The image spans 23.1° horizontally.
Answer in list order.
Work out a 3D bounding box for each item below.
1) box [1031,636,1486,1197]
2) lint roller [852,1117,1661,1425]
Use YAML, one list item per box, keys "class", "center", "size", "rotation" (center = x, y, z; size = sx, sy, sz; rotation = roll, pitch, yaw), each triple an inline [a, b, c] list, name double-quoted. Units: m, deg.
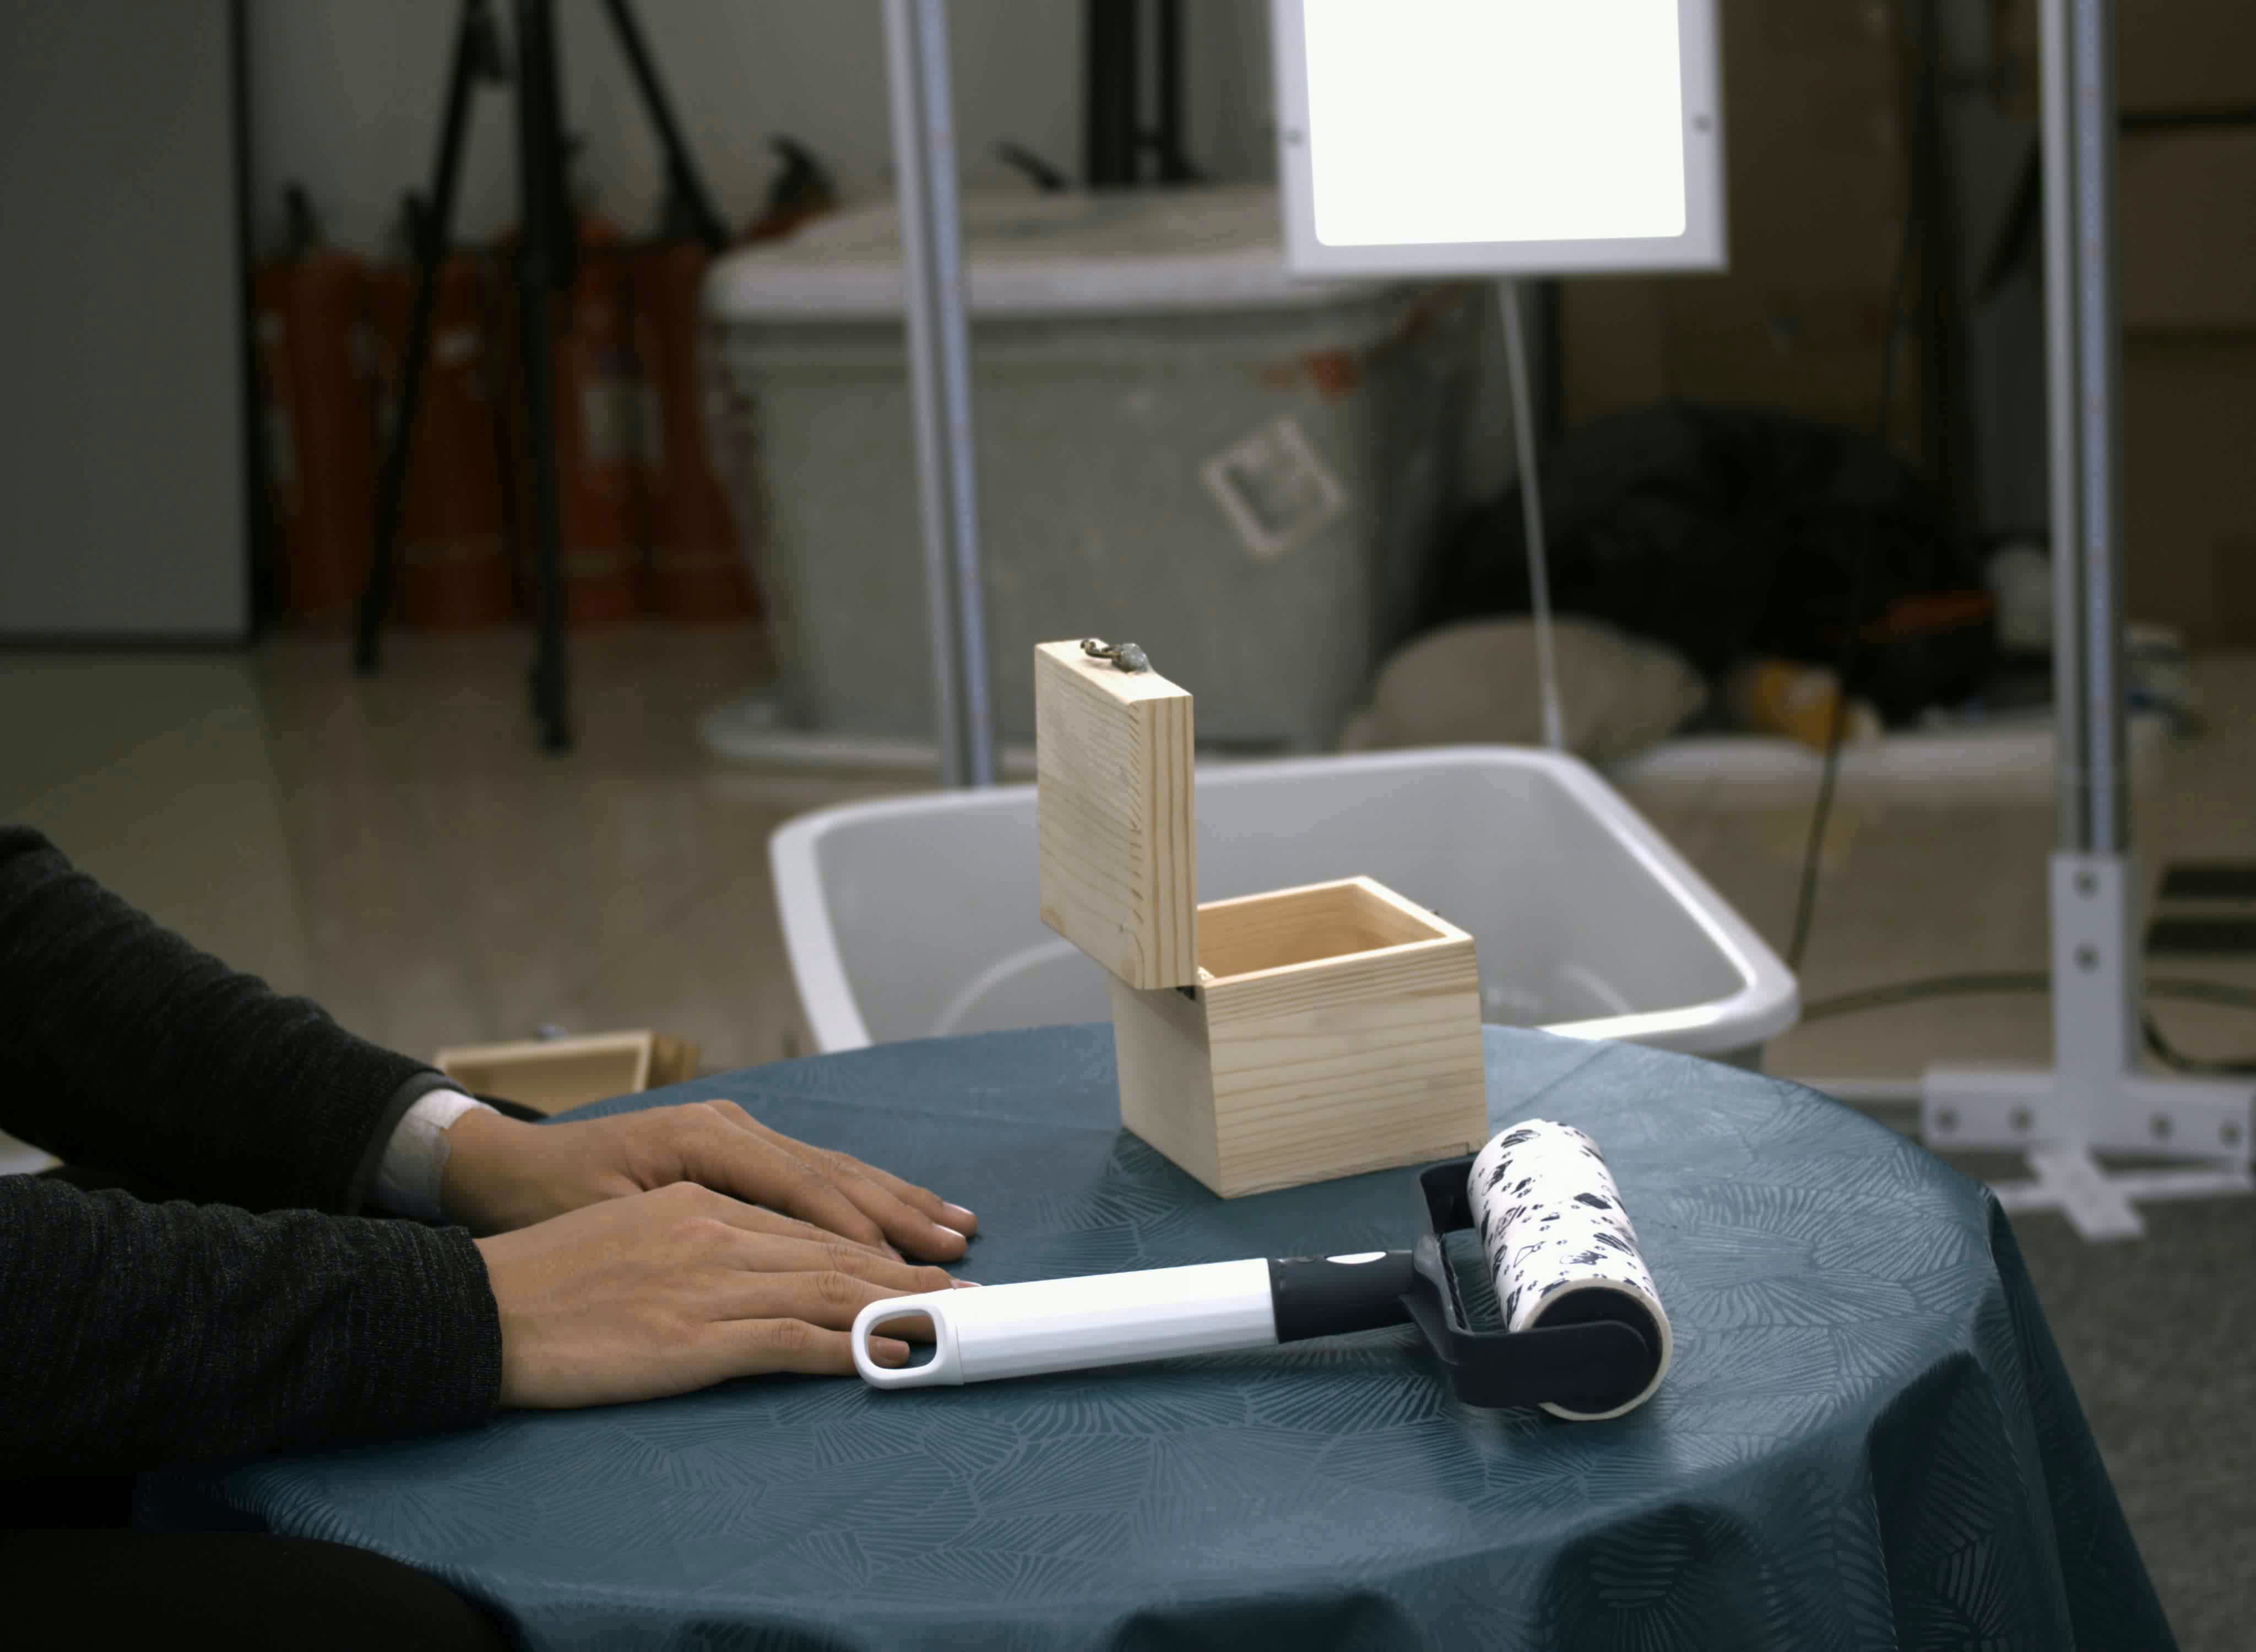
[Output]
- class: "box"
  center: [0.046, 0.023, 1.916]
  size: [0.132, 0.185, 0.104]
  rotation: [-9, 15, -16]
- class: "lint roller"
  center: [0.036, 0.147, 1.712]
  size: [0.246, 0.050, 0.176]
  rotation: [-6, 15, 1]
